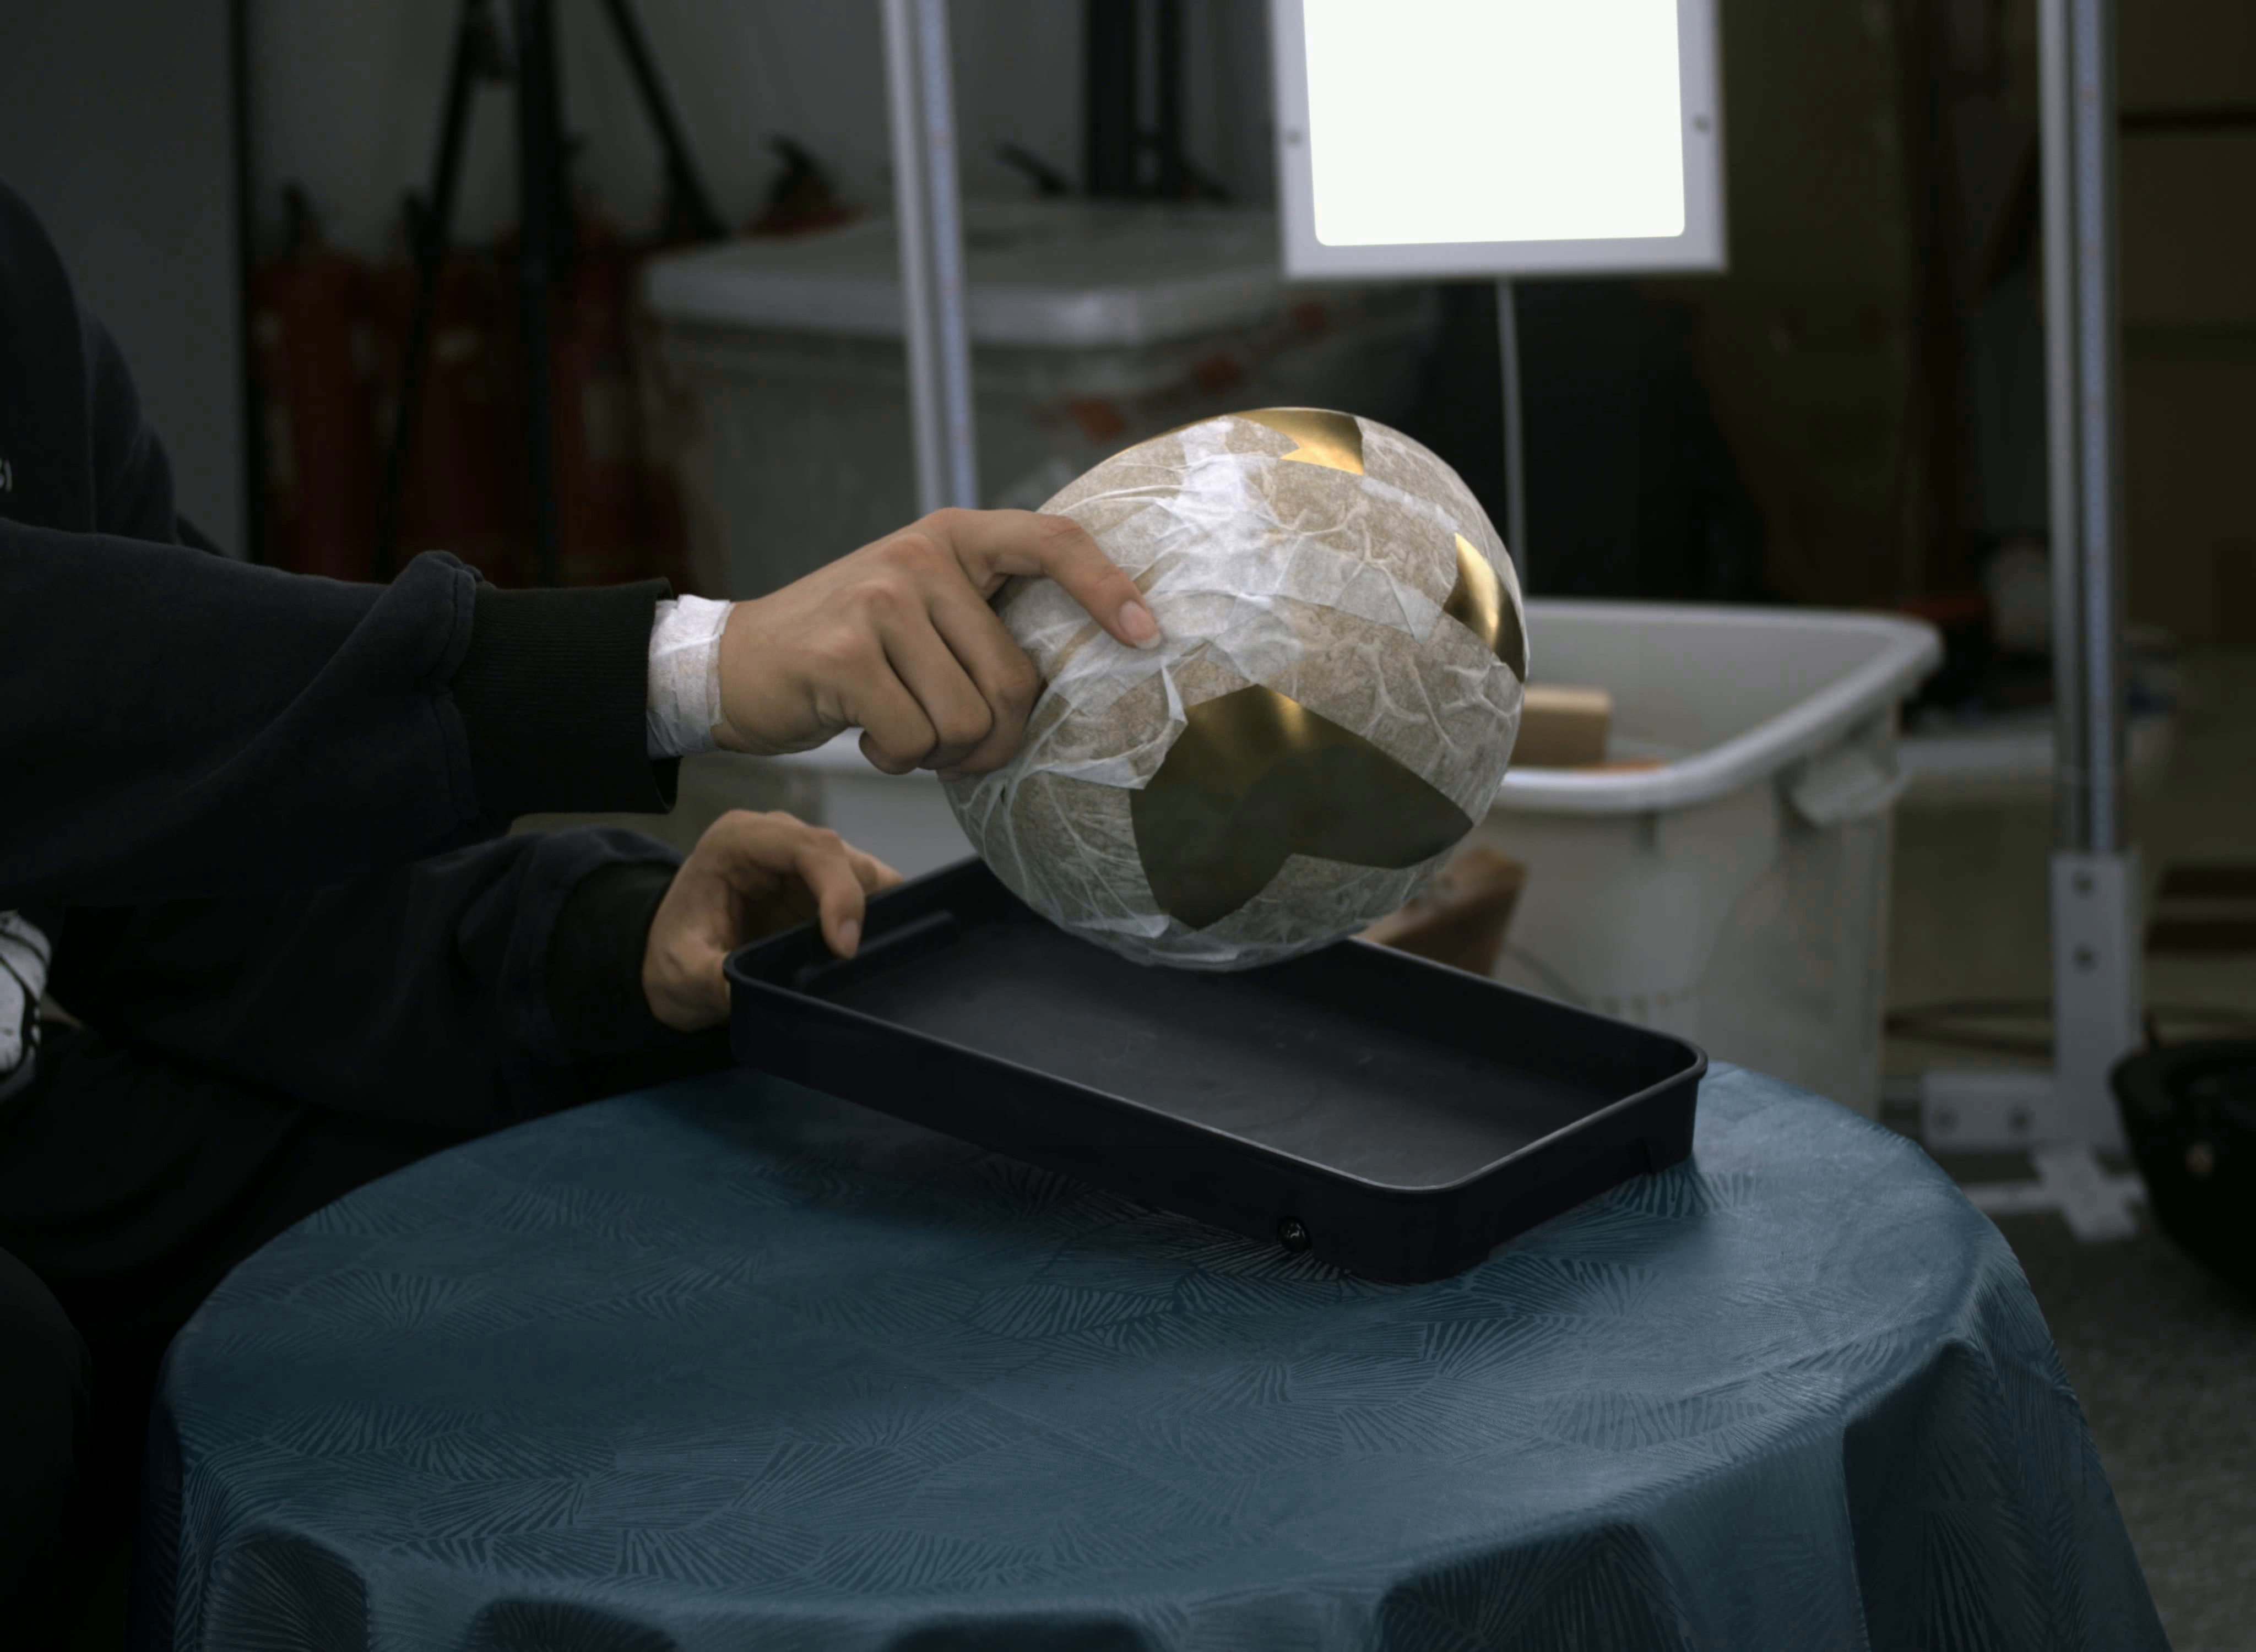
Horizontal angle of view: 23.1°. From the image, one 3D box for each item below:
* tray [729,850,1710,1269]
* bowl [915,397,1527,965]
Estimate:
[{"bbox_3d":[0.029,0.074,1.917,0.324,0.037,0.179,15,25,39],"label":"tray"},{"bbox_3d":[0.042,-0.027,1.777,0.211,0.216,0.095,-8,40,-16],"label":"bowl"}]
